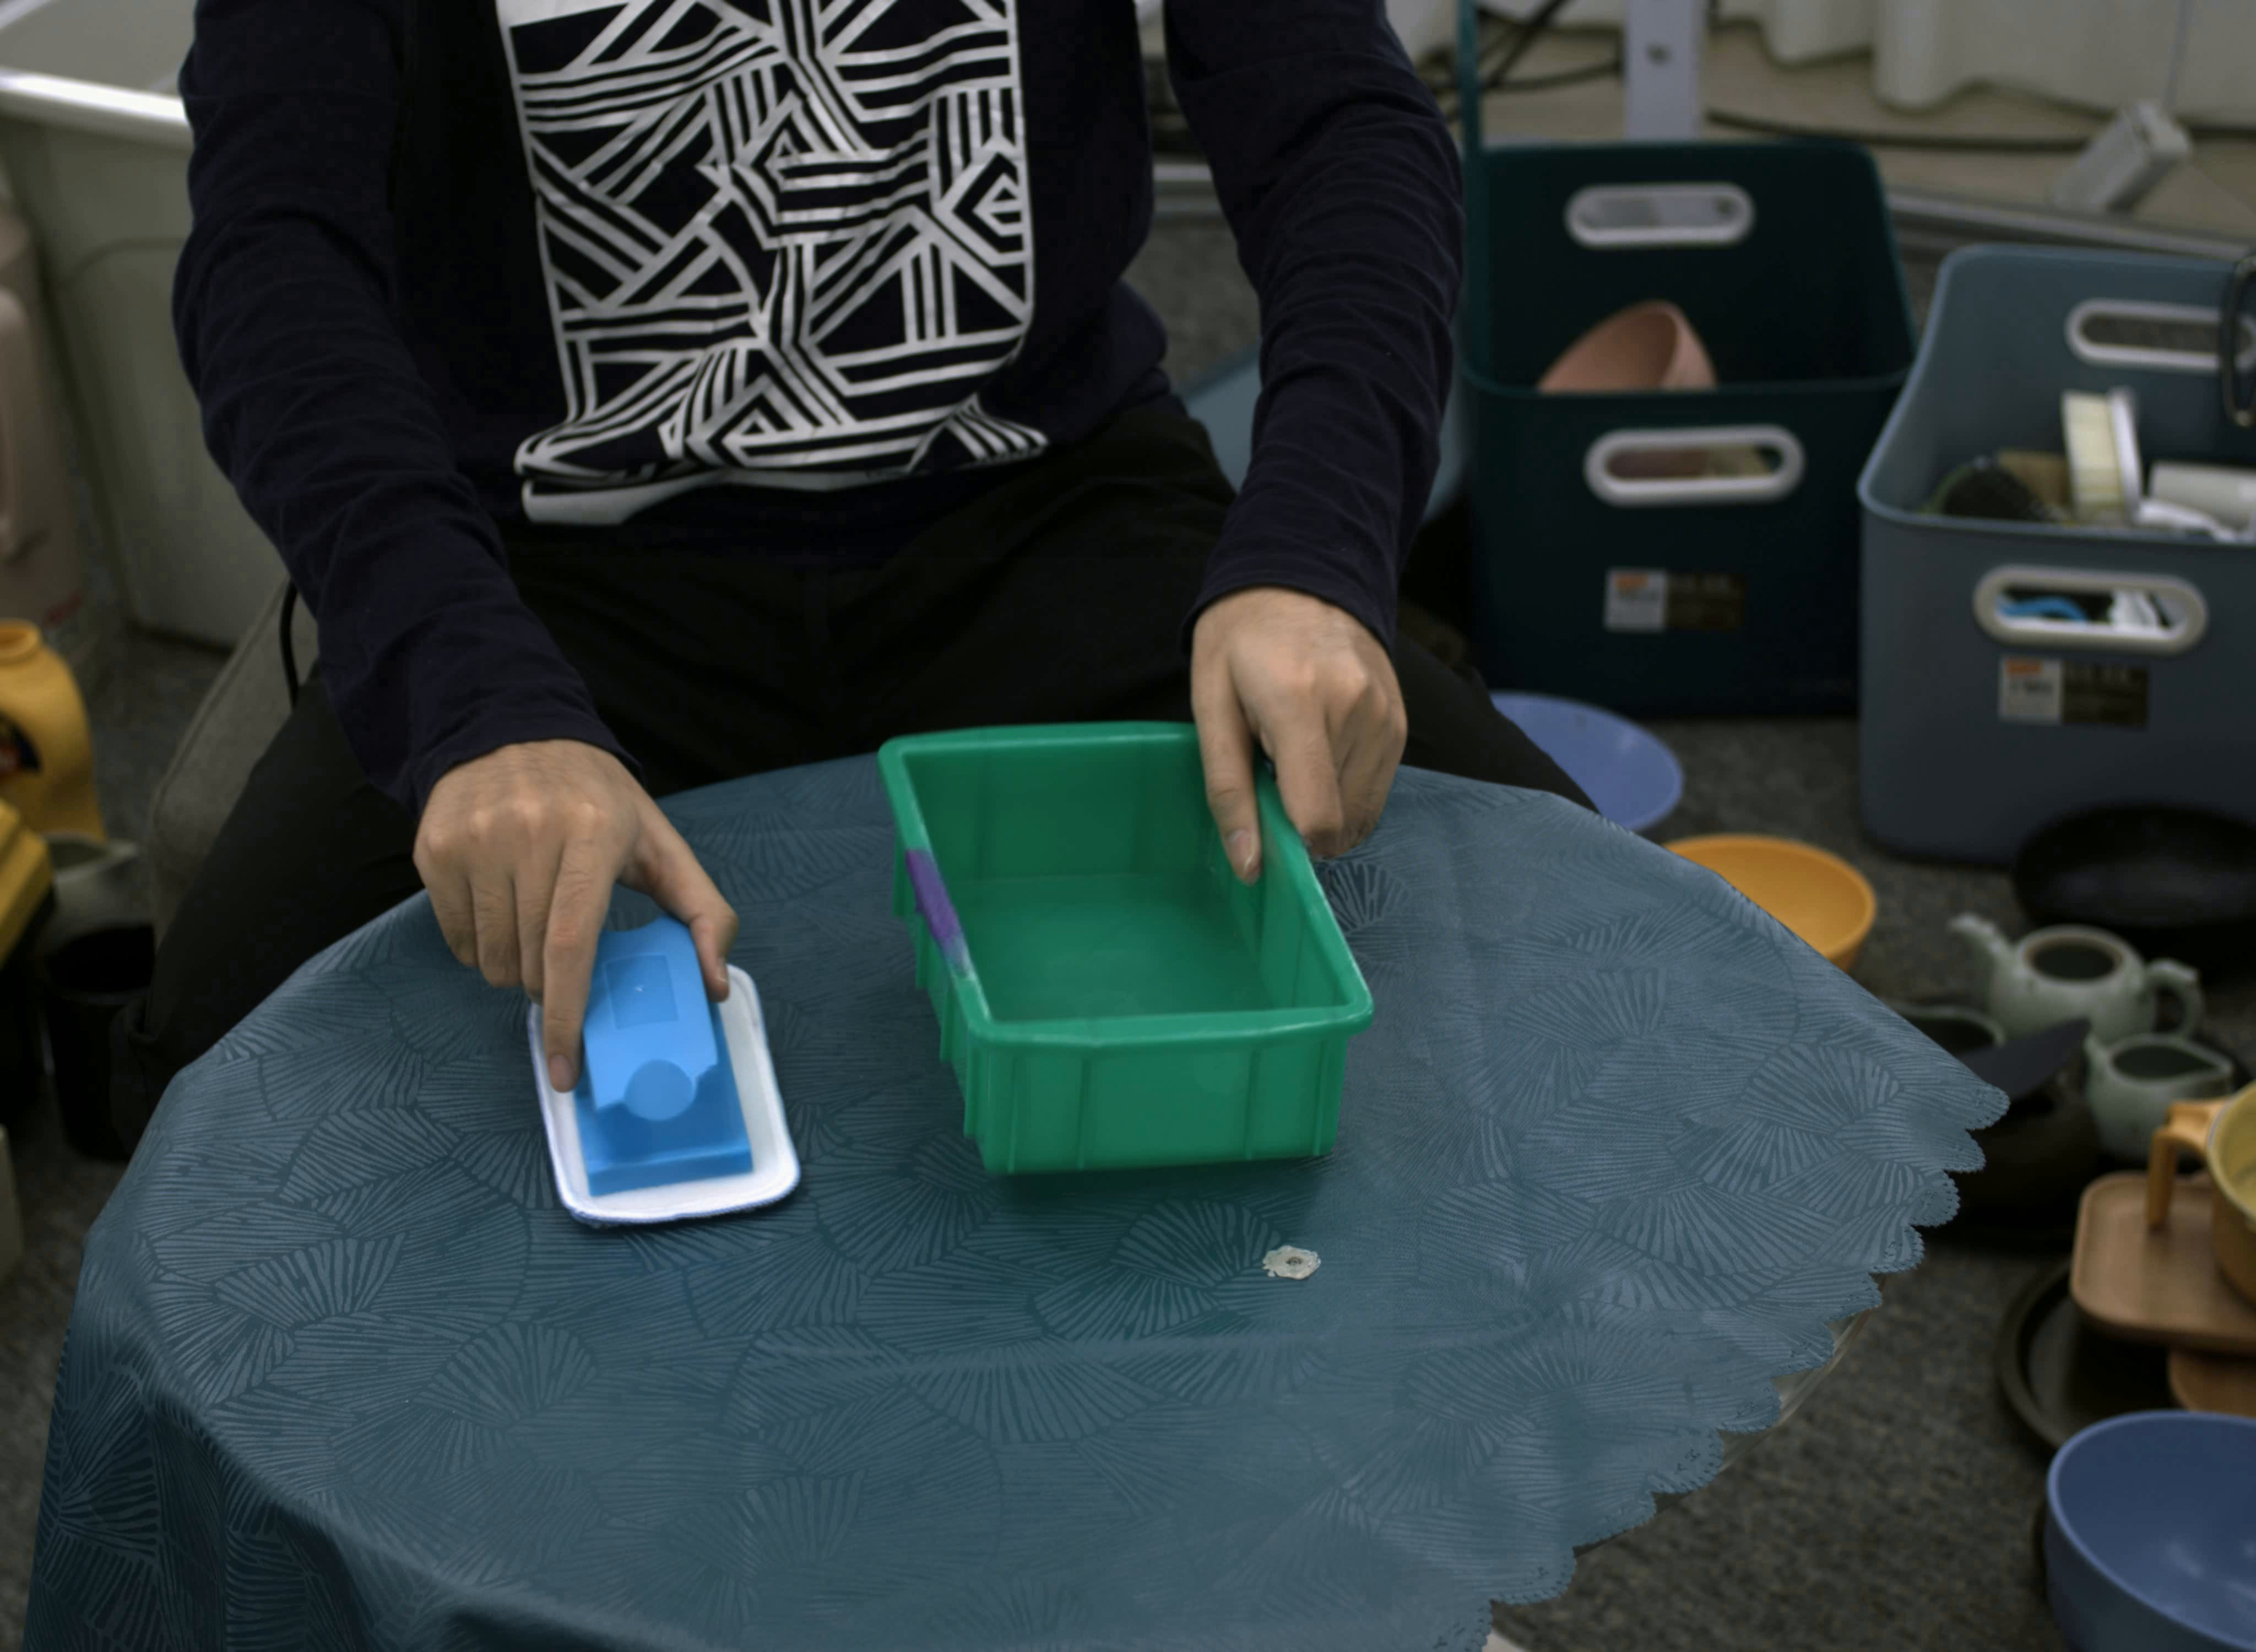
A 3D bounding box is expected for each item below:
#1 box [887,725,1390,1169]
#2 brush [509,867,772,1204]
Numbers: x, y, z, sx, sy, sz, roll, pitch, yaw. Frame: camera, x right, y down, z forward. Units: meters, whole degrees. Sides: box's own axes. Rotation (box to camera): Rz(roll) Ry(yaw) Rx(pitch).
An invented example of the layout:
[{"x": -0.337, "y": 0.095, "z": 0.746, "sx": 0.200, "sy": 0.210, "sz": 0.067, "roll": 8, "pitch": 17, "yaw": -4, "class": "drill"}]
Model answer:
[{"x": -0.001, "y": 0.041, "z": 1.912, "sx": 0.138, "sy": 0.064, "sz": 0.213, "roll": -3, "pitch": 29, "yaw": -13, "class": "box"}, {"x": -0.165, "y": 0.064, "z": 1.897, "sx": 0.083, "sy": 0.055, "sz": 0.146, "roll": -8, "pitch": 41, "yaw": -5, "class": "brush"}]
